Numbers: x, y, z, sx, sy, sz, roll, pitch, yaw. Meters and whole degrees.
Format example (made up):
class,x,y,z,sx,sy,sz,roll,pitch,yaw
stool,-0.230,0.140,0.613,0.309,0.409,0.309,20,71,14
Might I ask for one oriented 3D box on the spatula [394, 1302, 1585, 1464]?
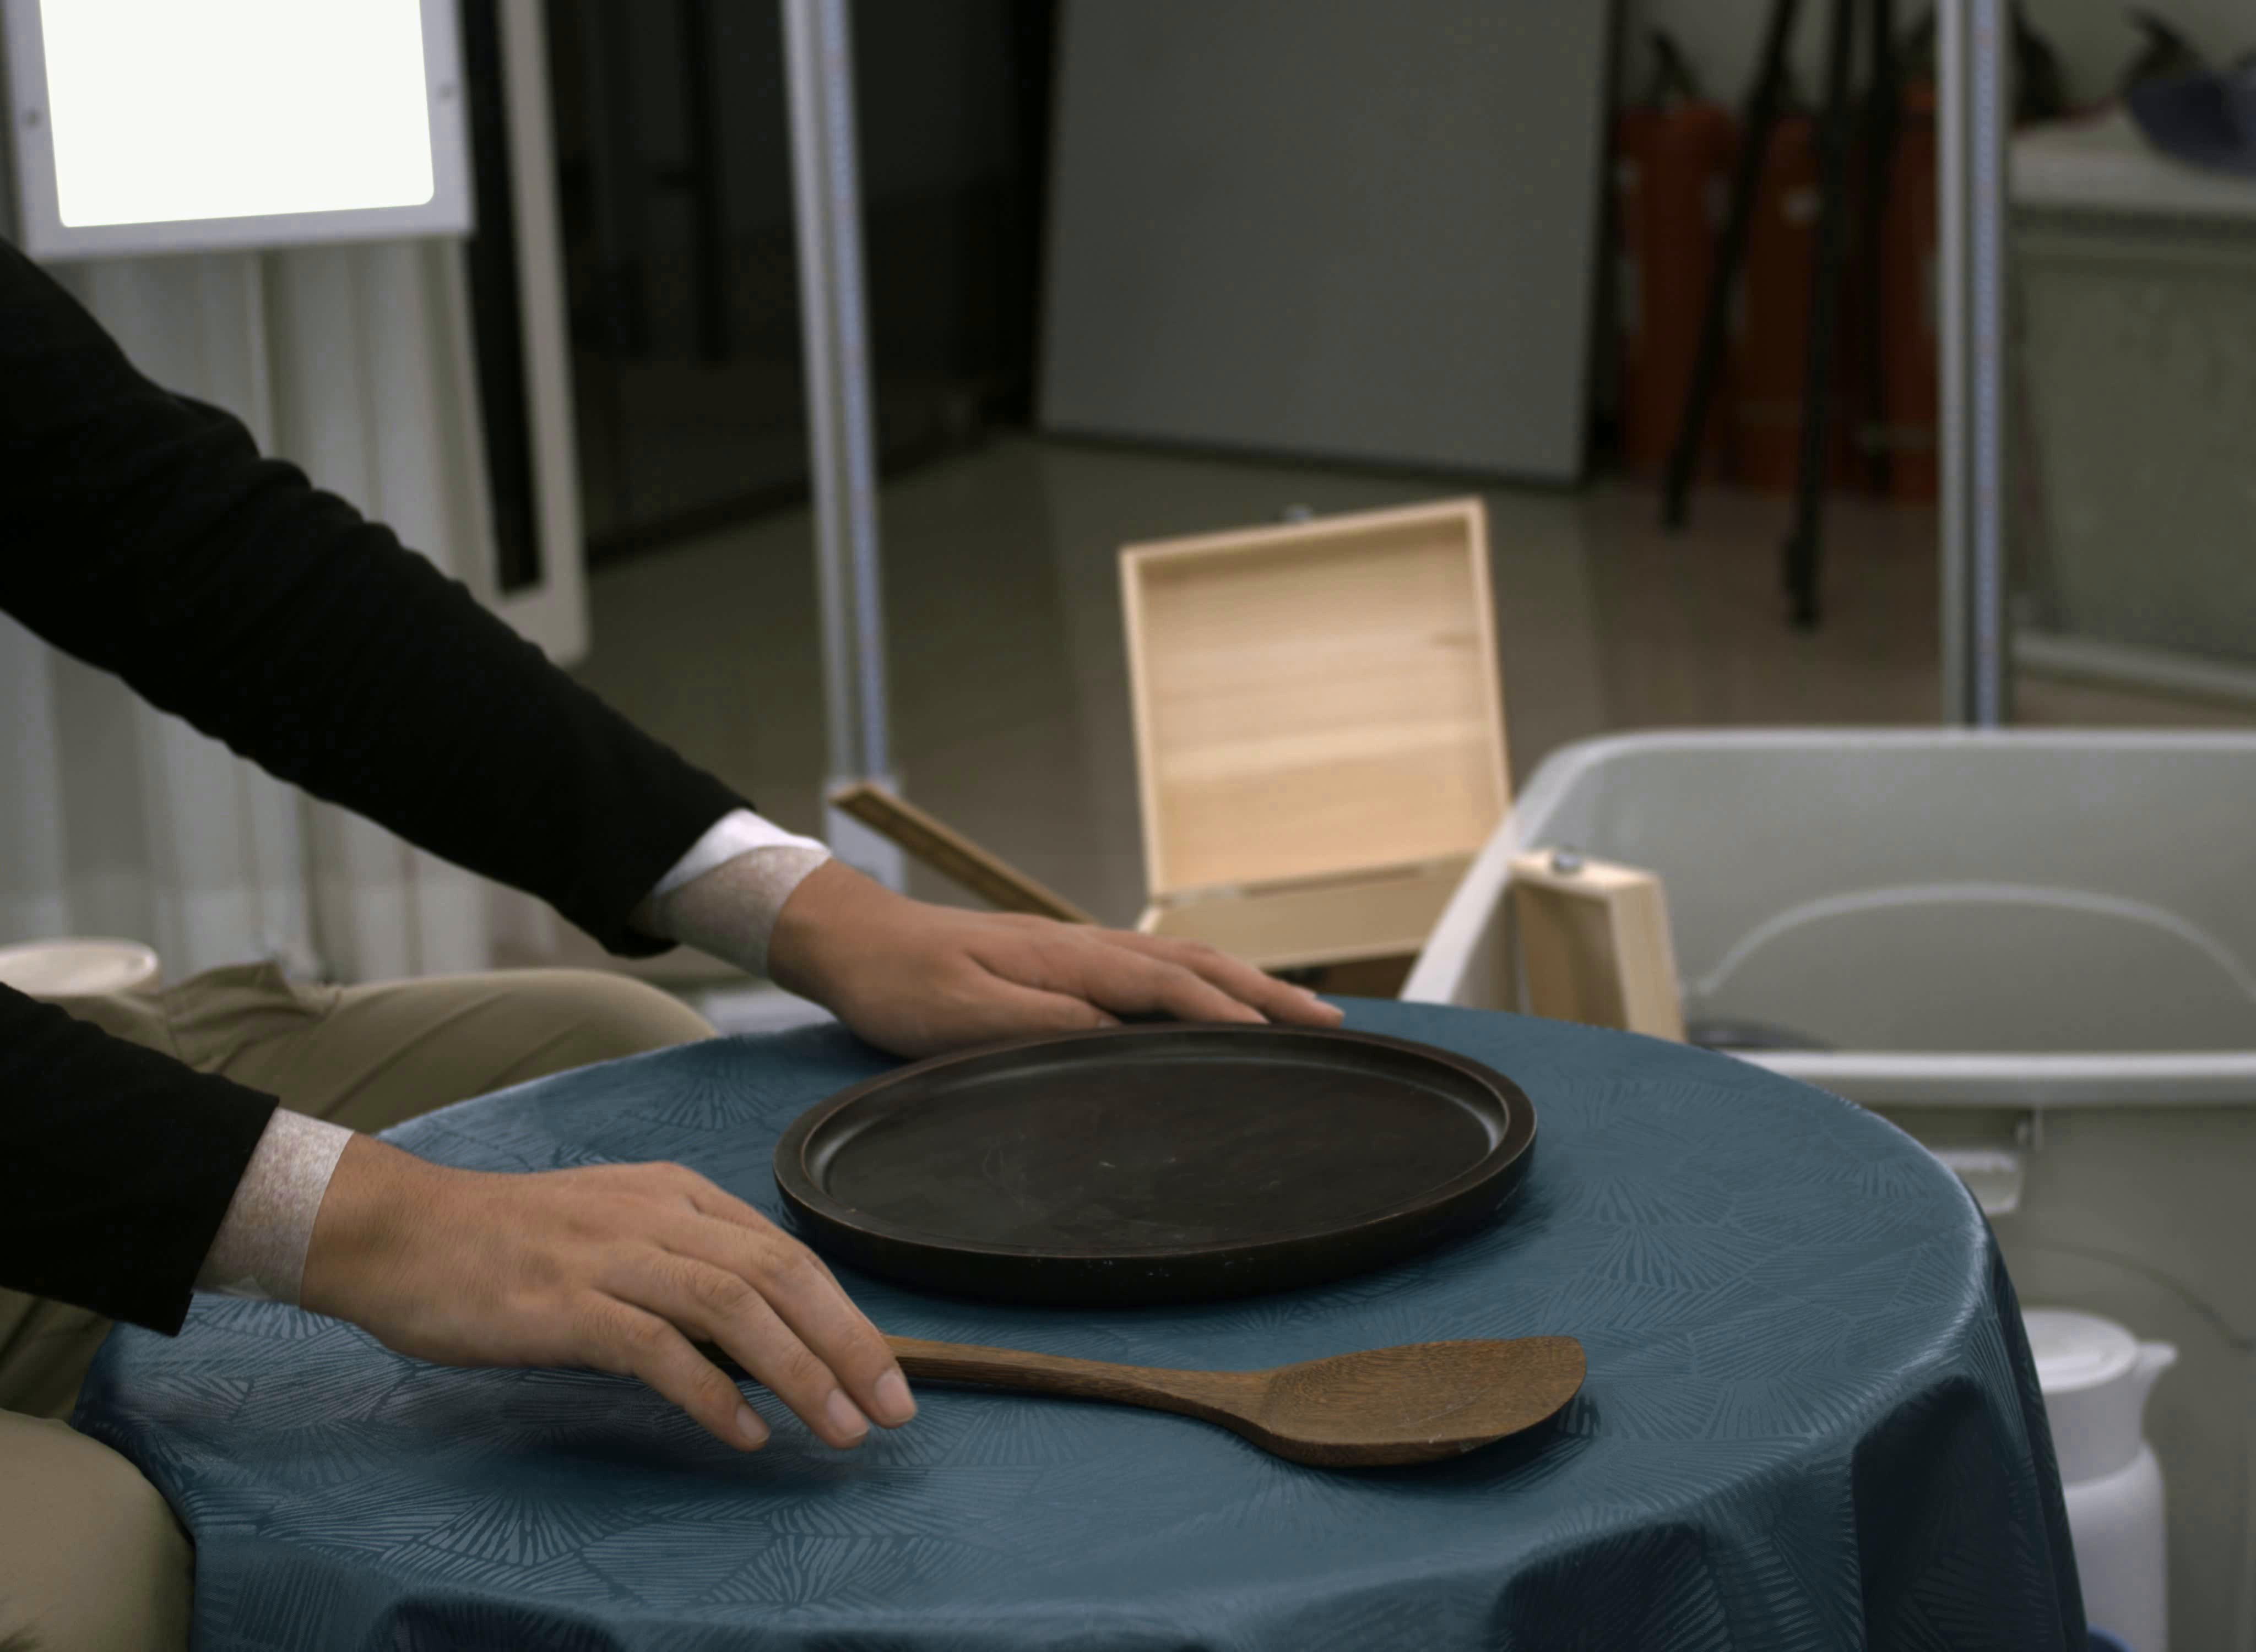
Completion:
class,x,y,z,sx,sy,sz,roll,pitch,yaw
spatula,-0.051,0.160,1.598,0.386,0.016,0.095,2,14,24

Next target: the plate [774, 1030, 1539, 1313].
class,x,y,z,sx,sy,sz,roll,pitch,yaw
plate,0.010,0.110,1.762,0.251,0.029,0.255,-5,15,0
